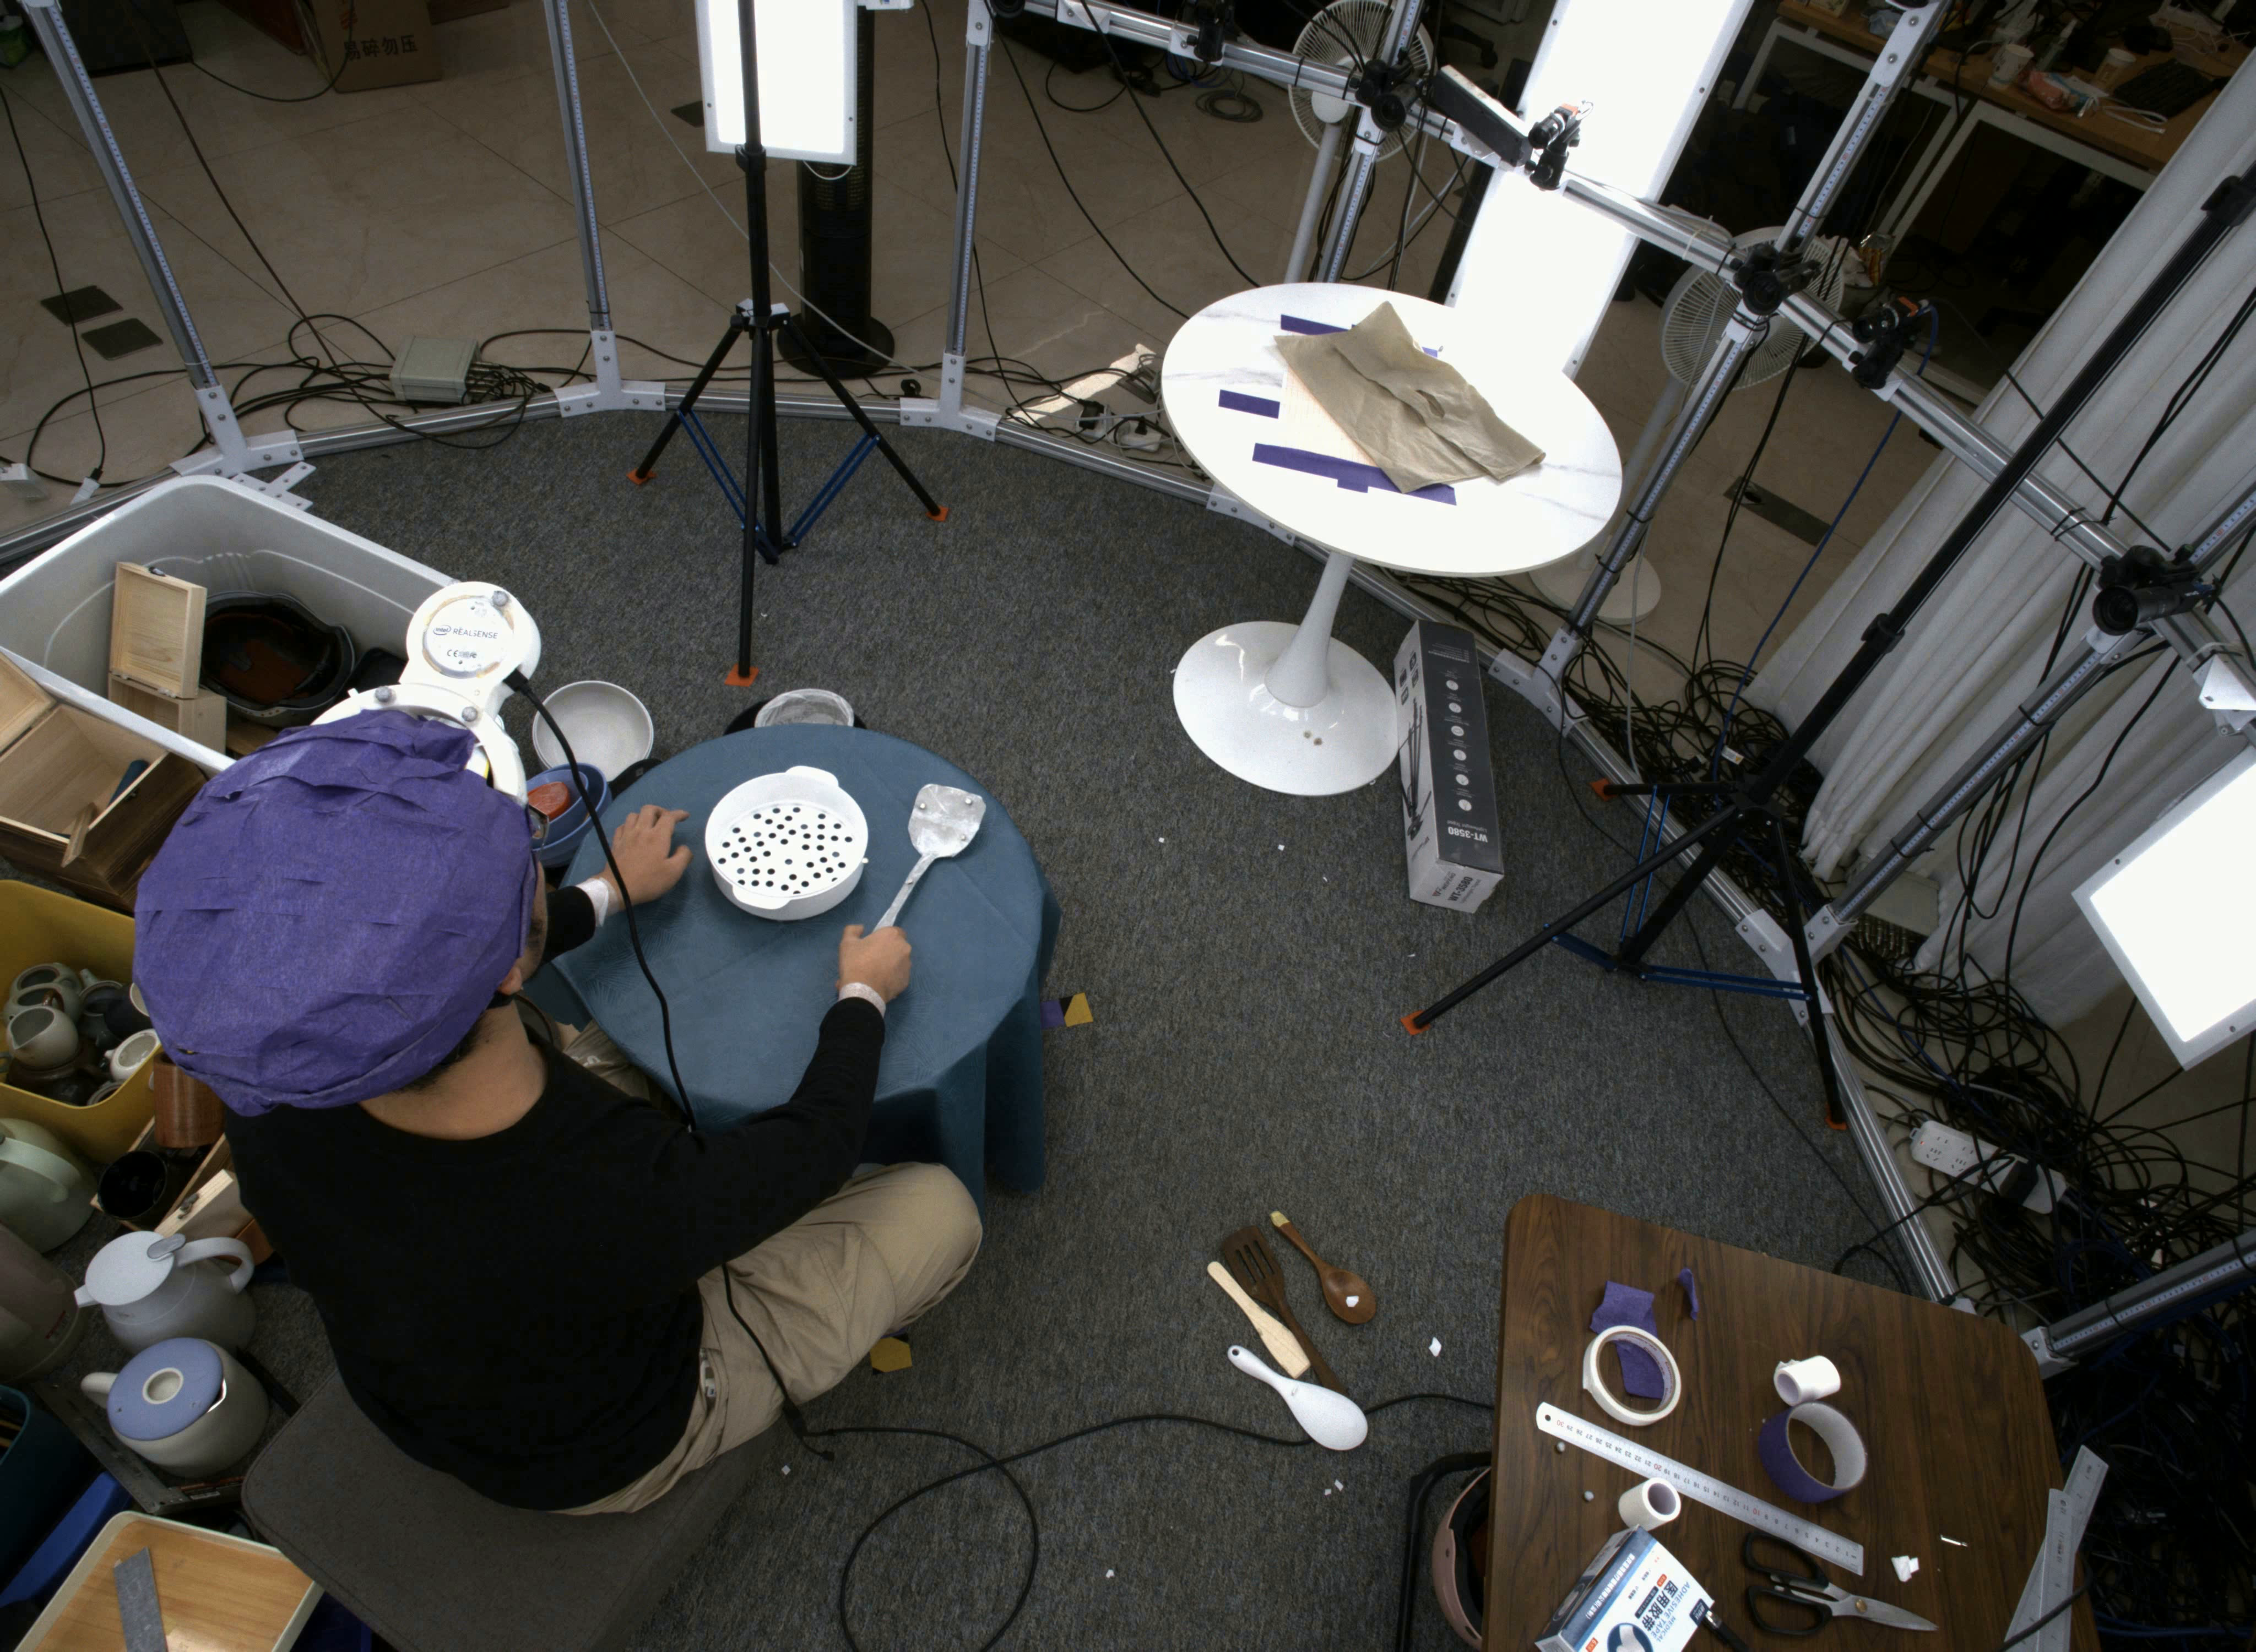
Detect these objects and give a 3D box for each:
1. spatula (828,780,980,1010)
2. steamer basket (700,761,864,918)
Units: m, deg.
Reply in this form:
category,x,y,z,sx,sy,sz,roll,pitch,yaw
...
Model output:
category,x,y,z,sx,sy,sz,roll,pitch,yaw
spatula,-0.295,0.082,1.661,0.097,0.046,0.361,17,49,7
steamer basket,-0.439,0.022,1.653,0.200,0.070,0.227,14,52,-2
